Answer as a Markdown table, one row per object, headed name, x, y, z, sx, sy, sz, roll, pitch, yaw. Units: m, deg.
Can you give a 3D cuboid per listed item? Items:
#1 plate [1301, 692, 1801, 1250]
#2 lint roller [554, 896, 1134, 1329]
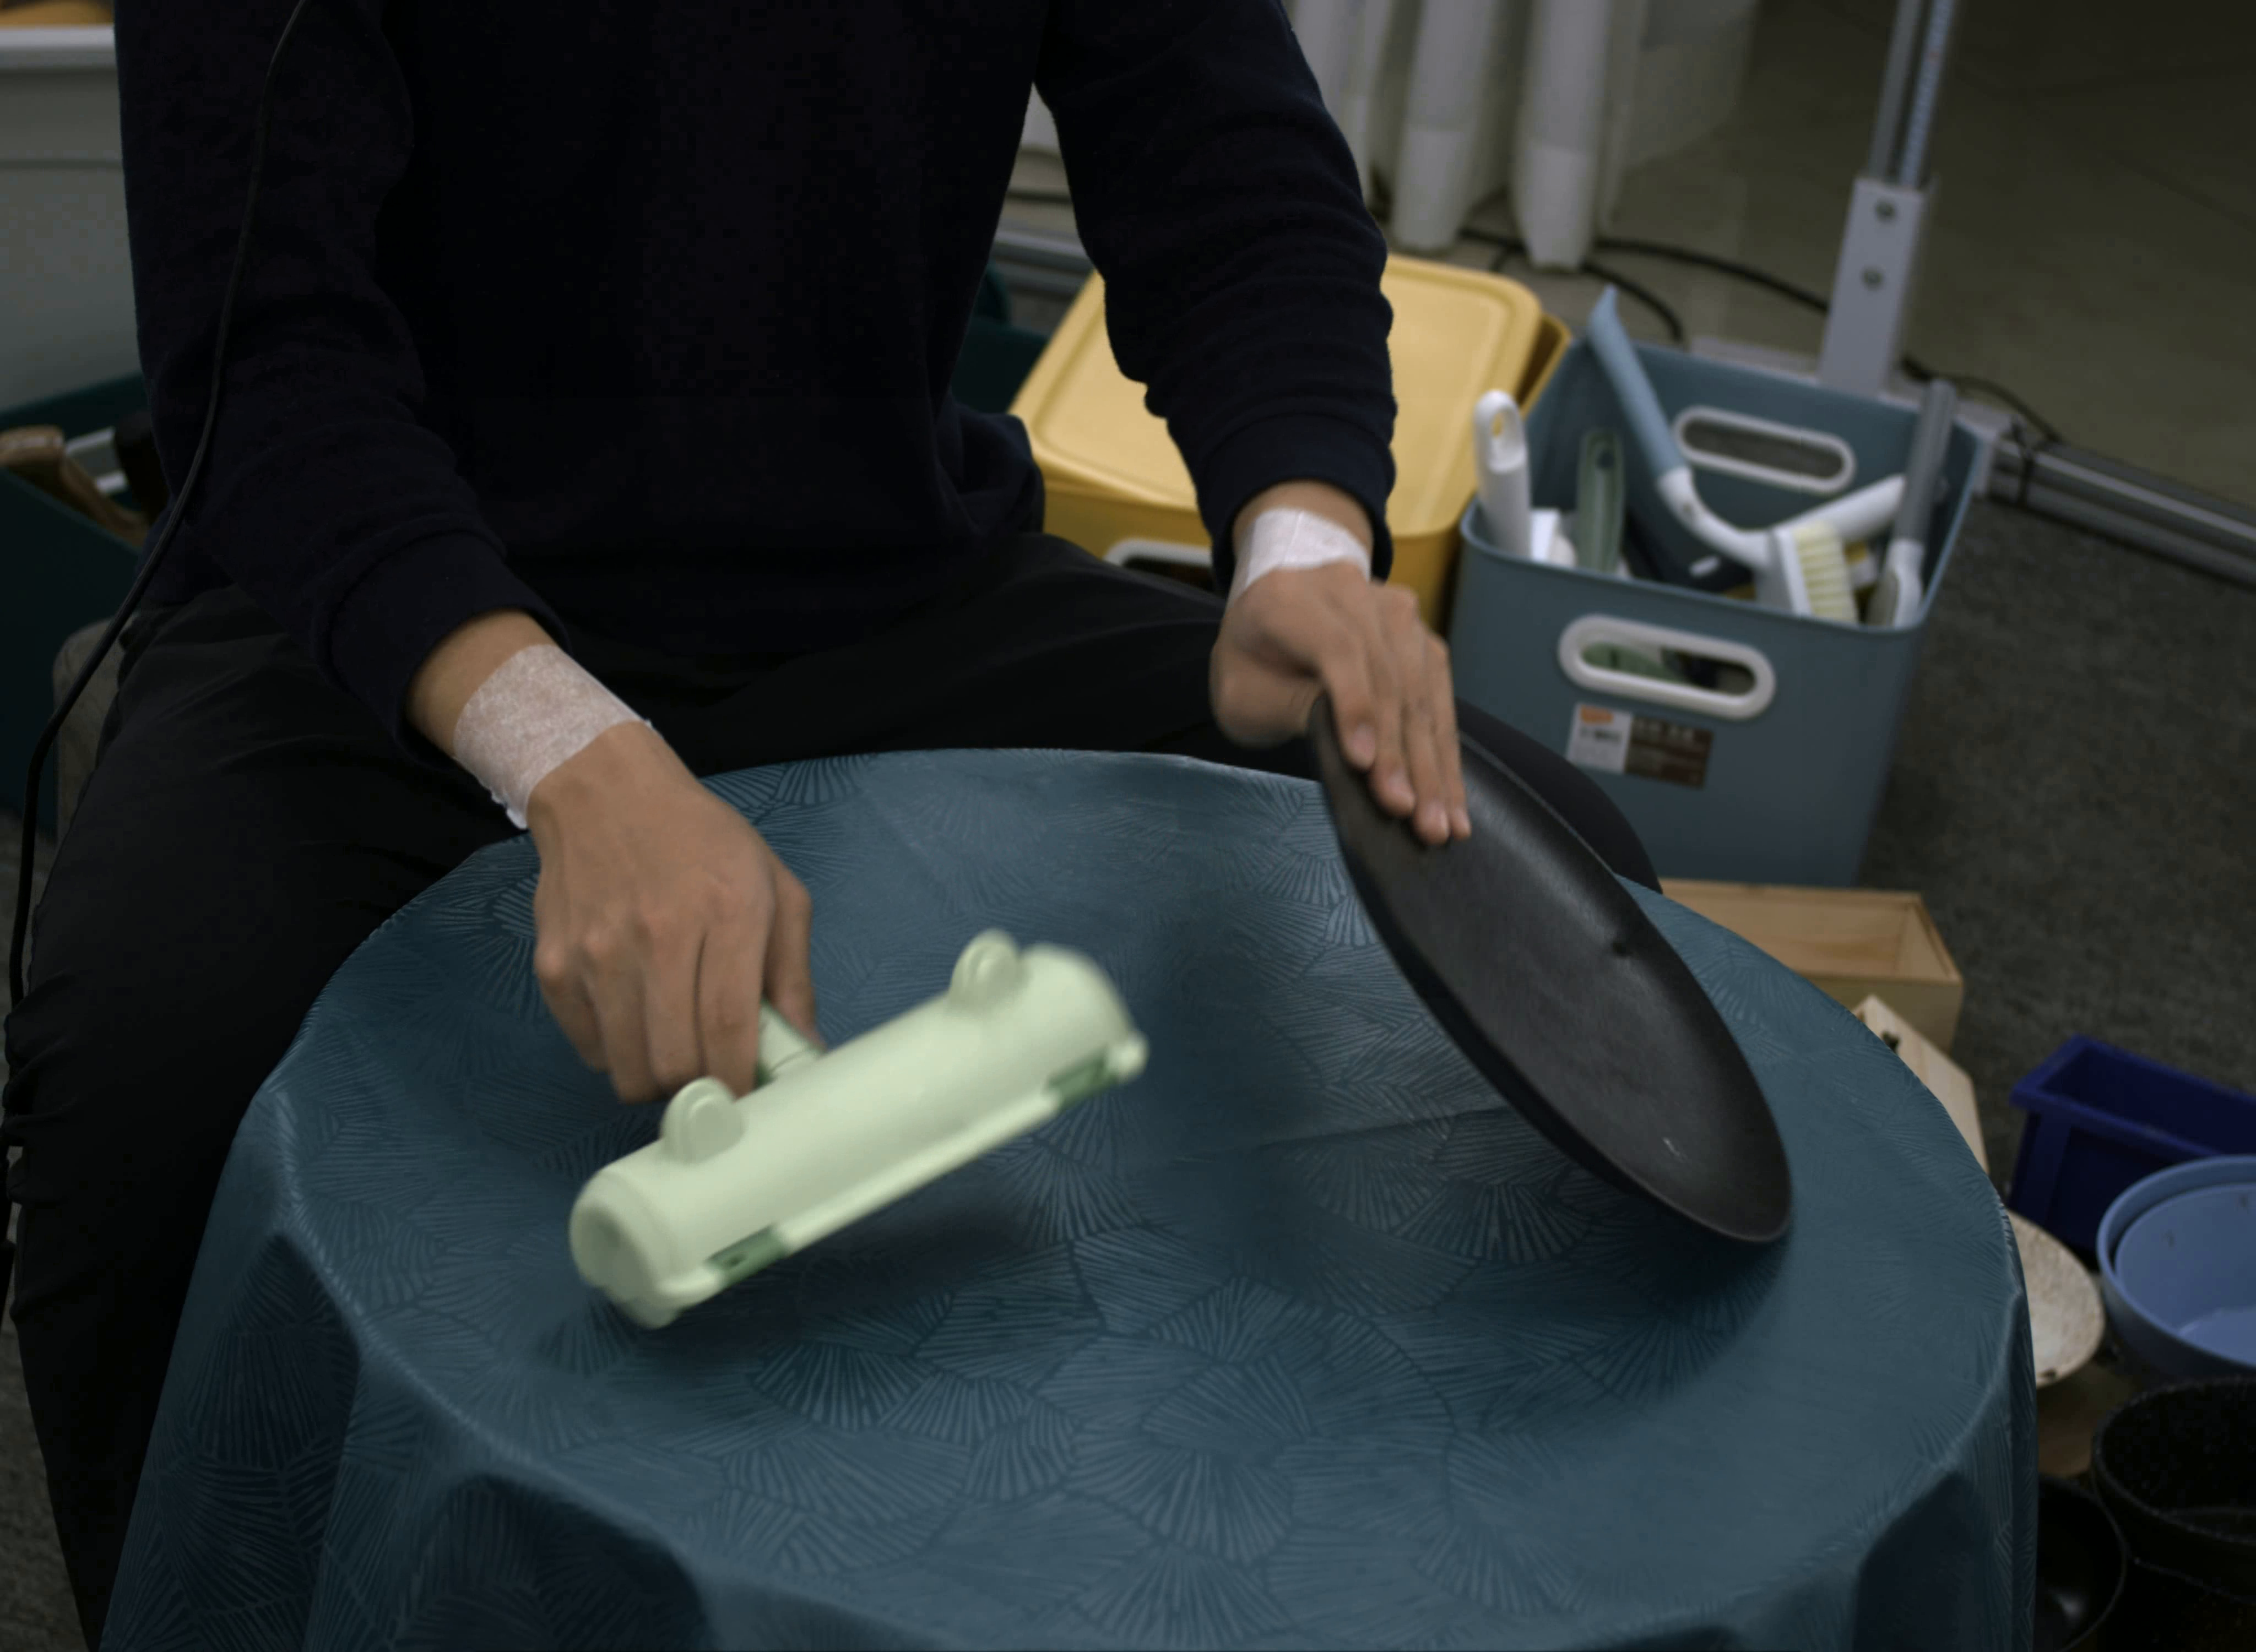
| name | x | y | z | sx | sy | sz | roll | pitch | yaw |
| --- | --- | --- | --- | --- | --- | --- | --- | --- | --- |
| plate | 0.140 | 0.053 | 1.820 | 0.243 | 0.023 | 0.246 | 40 | 20 | -19 |
| lint roller | -0.125 | 0.063 | 1.743 | 0.198 | 0.082 | 0.185 | -25 | 54 | -31 |
